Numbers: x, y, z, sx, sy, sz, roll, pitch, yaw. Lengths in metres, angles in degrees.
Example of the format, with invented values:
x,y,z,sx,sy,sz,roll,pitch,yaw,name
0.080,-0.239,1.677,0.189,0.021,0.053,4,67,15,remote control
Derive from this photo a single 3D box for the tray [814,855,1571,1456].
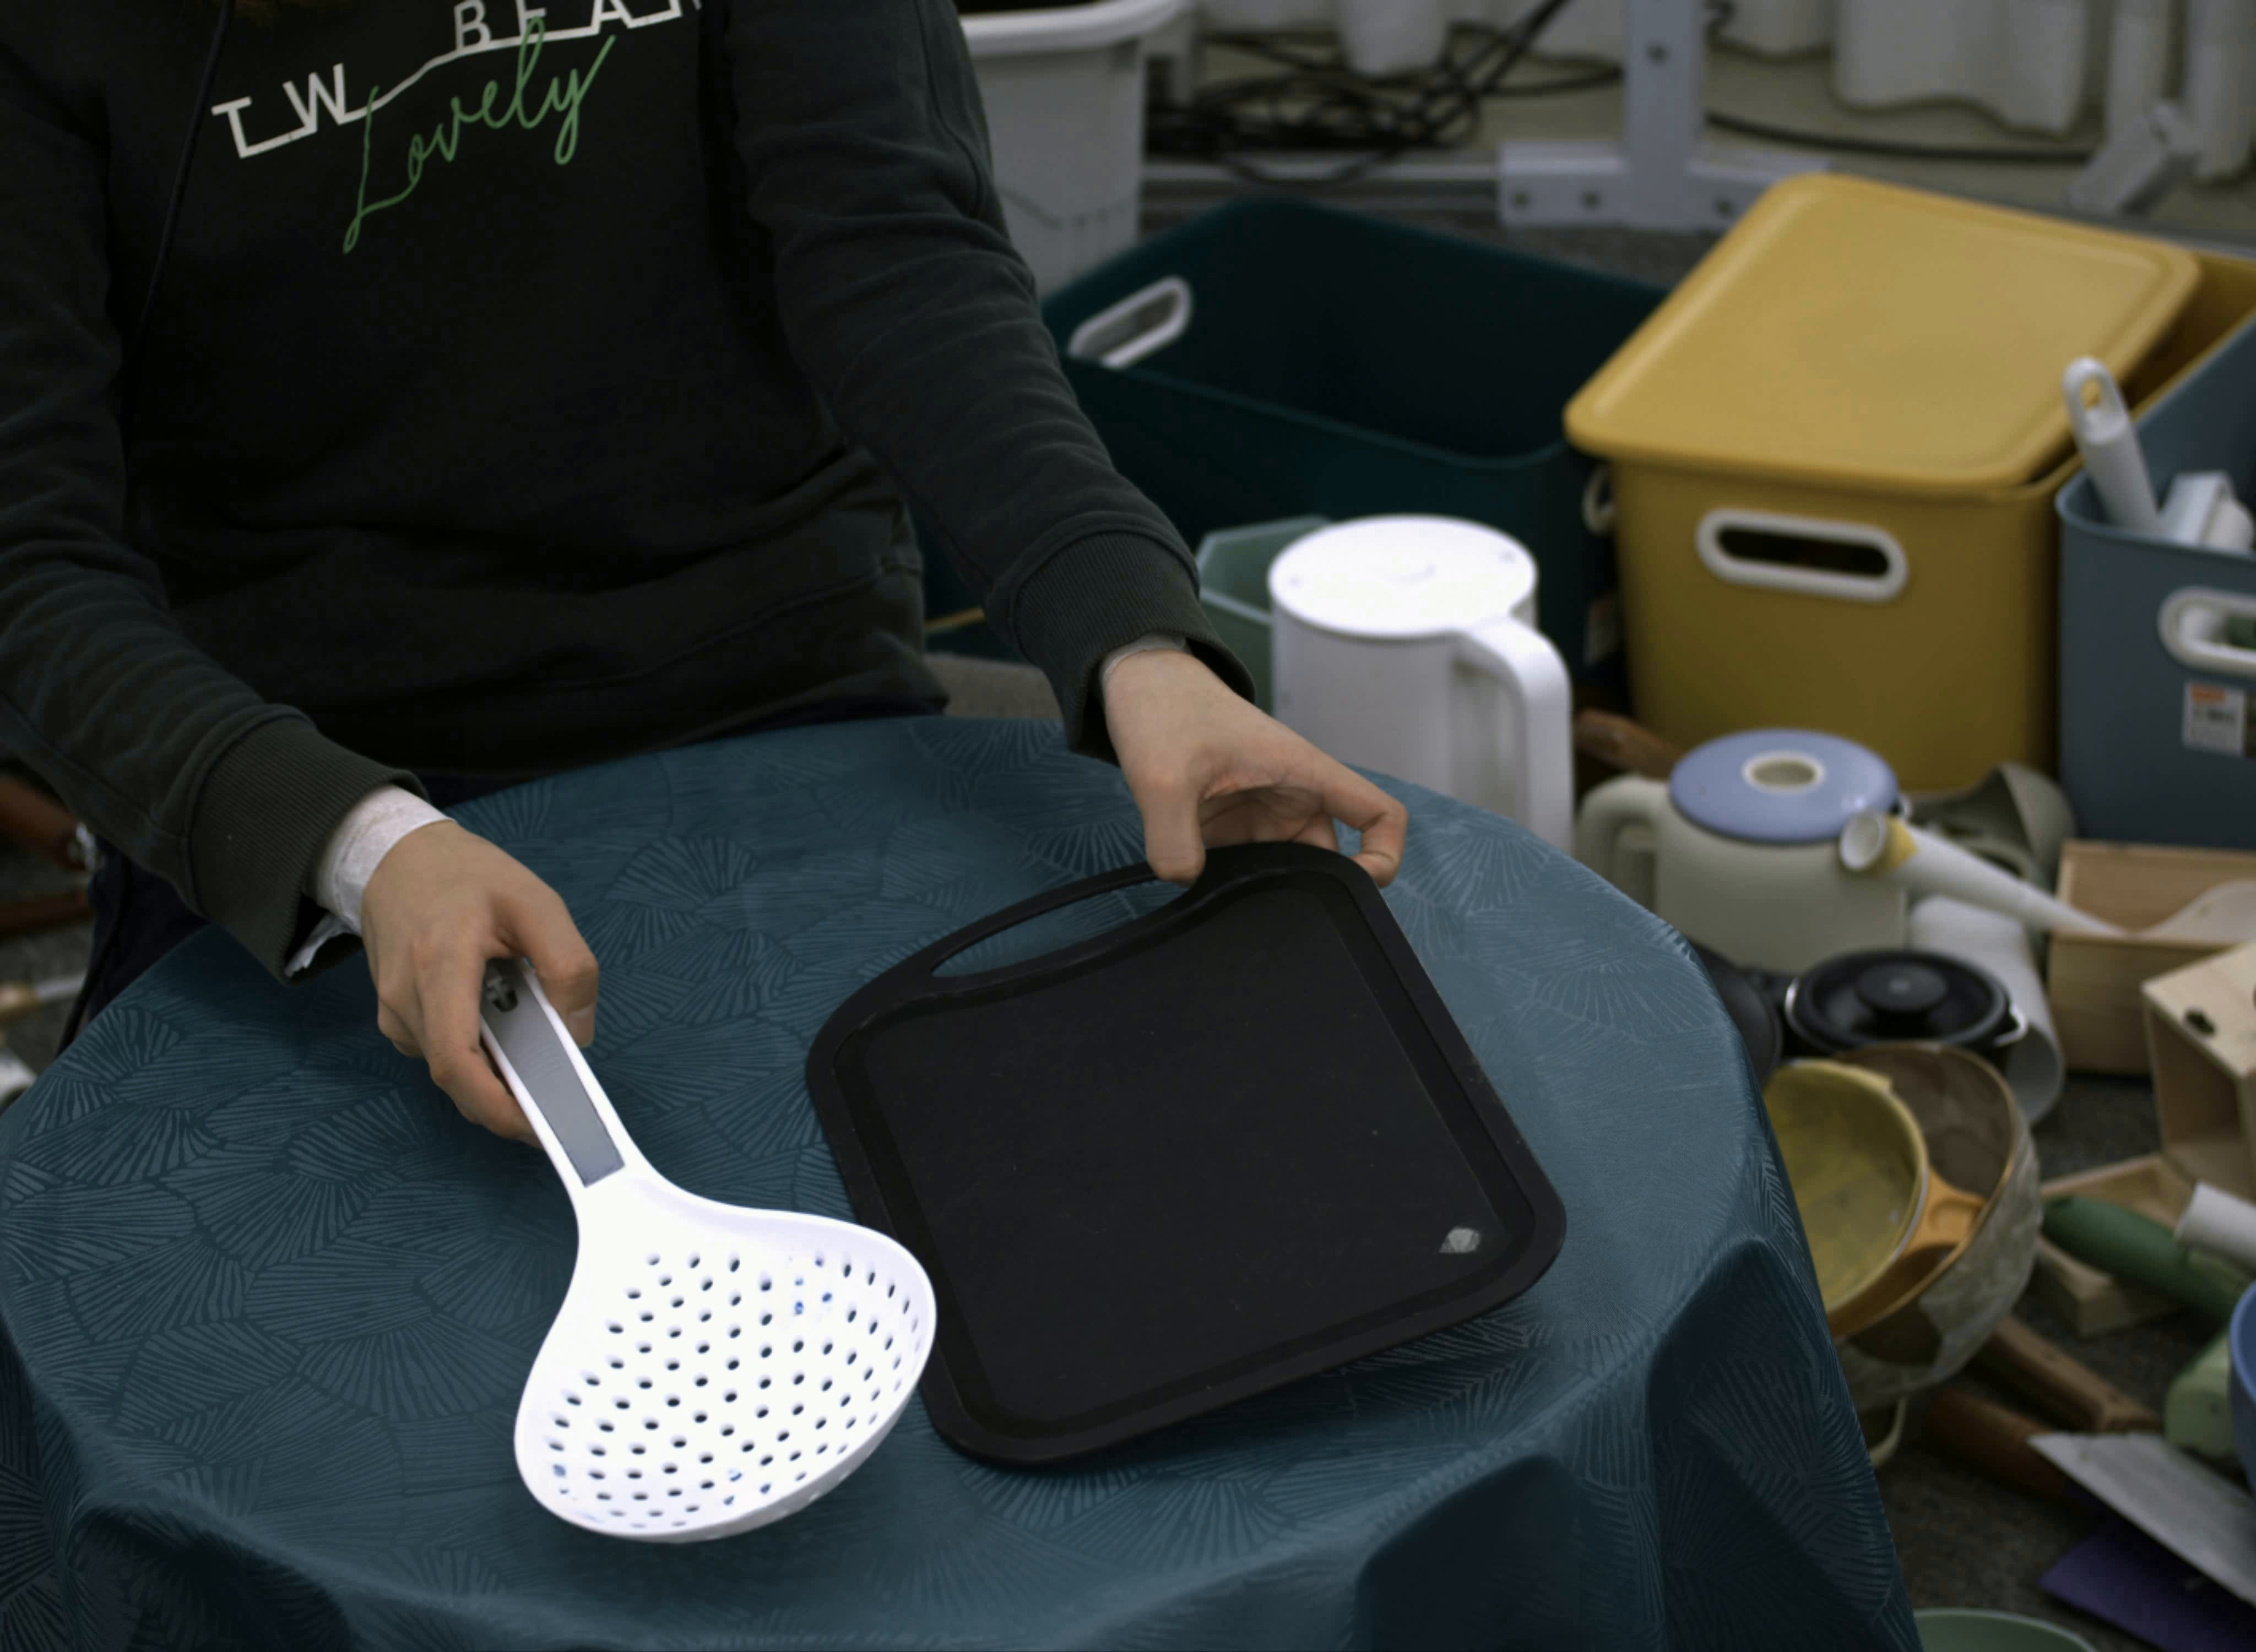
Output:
x,y,z,sx,sy,sz,roll,pitch,yaw,name
0.011,0.098,1.856,0.211,0.009,0.329,-18,29,-5,tray

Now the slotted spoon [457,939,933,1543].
x,y,z,sx,sy,sz,roll,pitch,yaw,name
-0.159,0.125,1.792,0.136,0.045,0.353,-26,37,-9,slotted spoon
